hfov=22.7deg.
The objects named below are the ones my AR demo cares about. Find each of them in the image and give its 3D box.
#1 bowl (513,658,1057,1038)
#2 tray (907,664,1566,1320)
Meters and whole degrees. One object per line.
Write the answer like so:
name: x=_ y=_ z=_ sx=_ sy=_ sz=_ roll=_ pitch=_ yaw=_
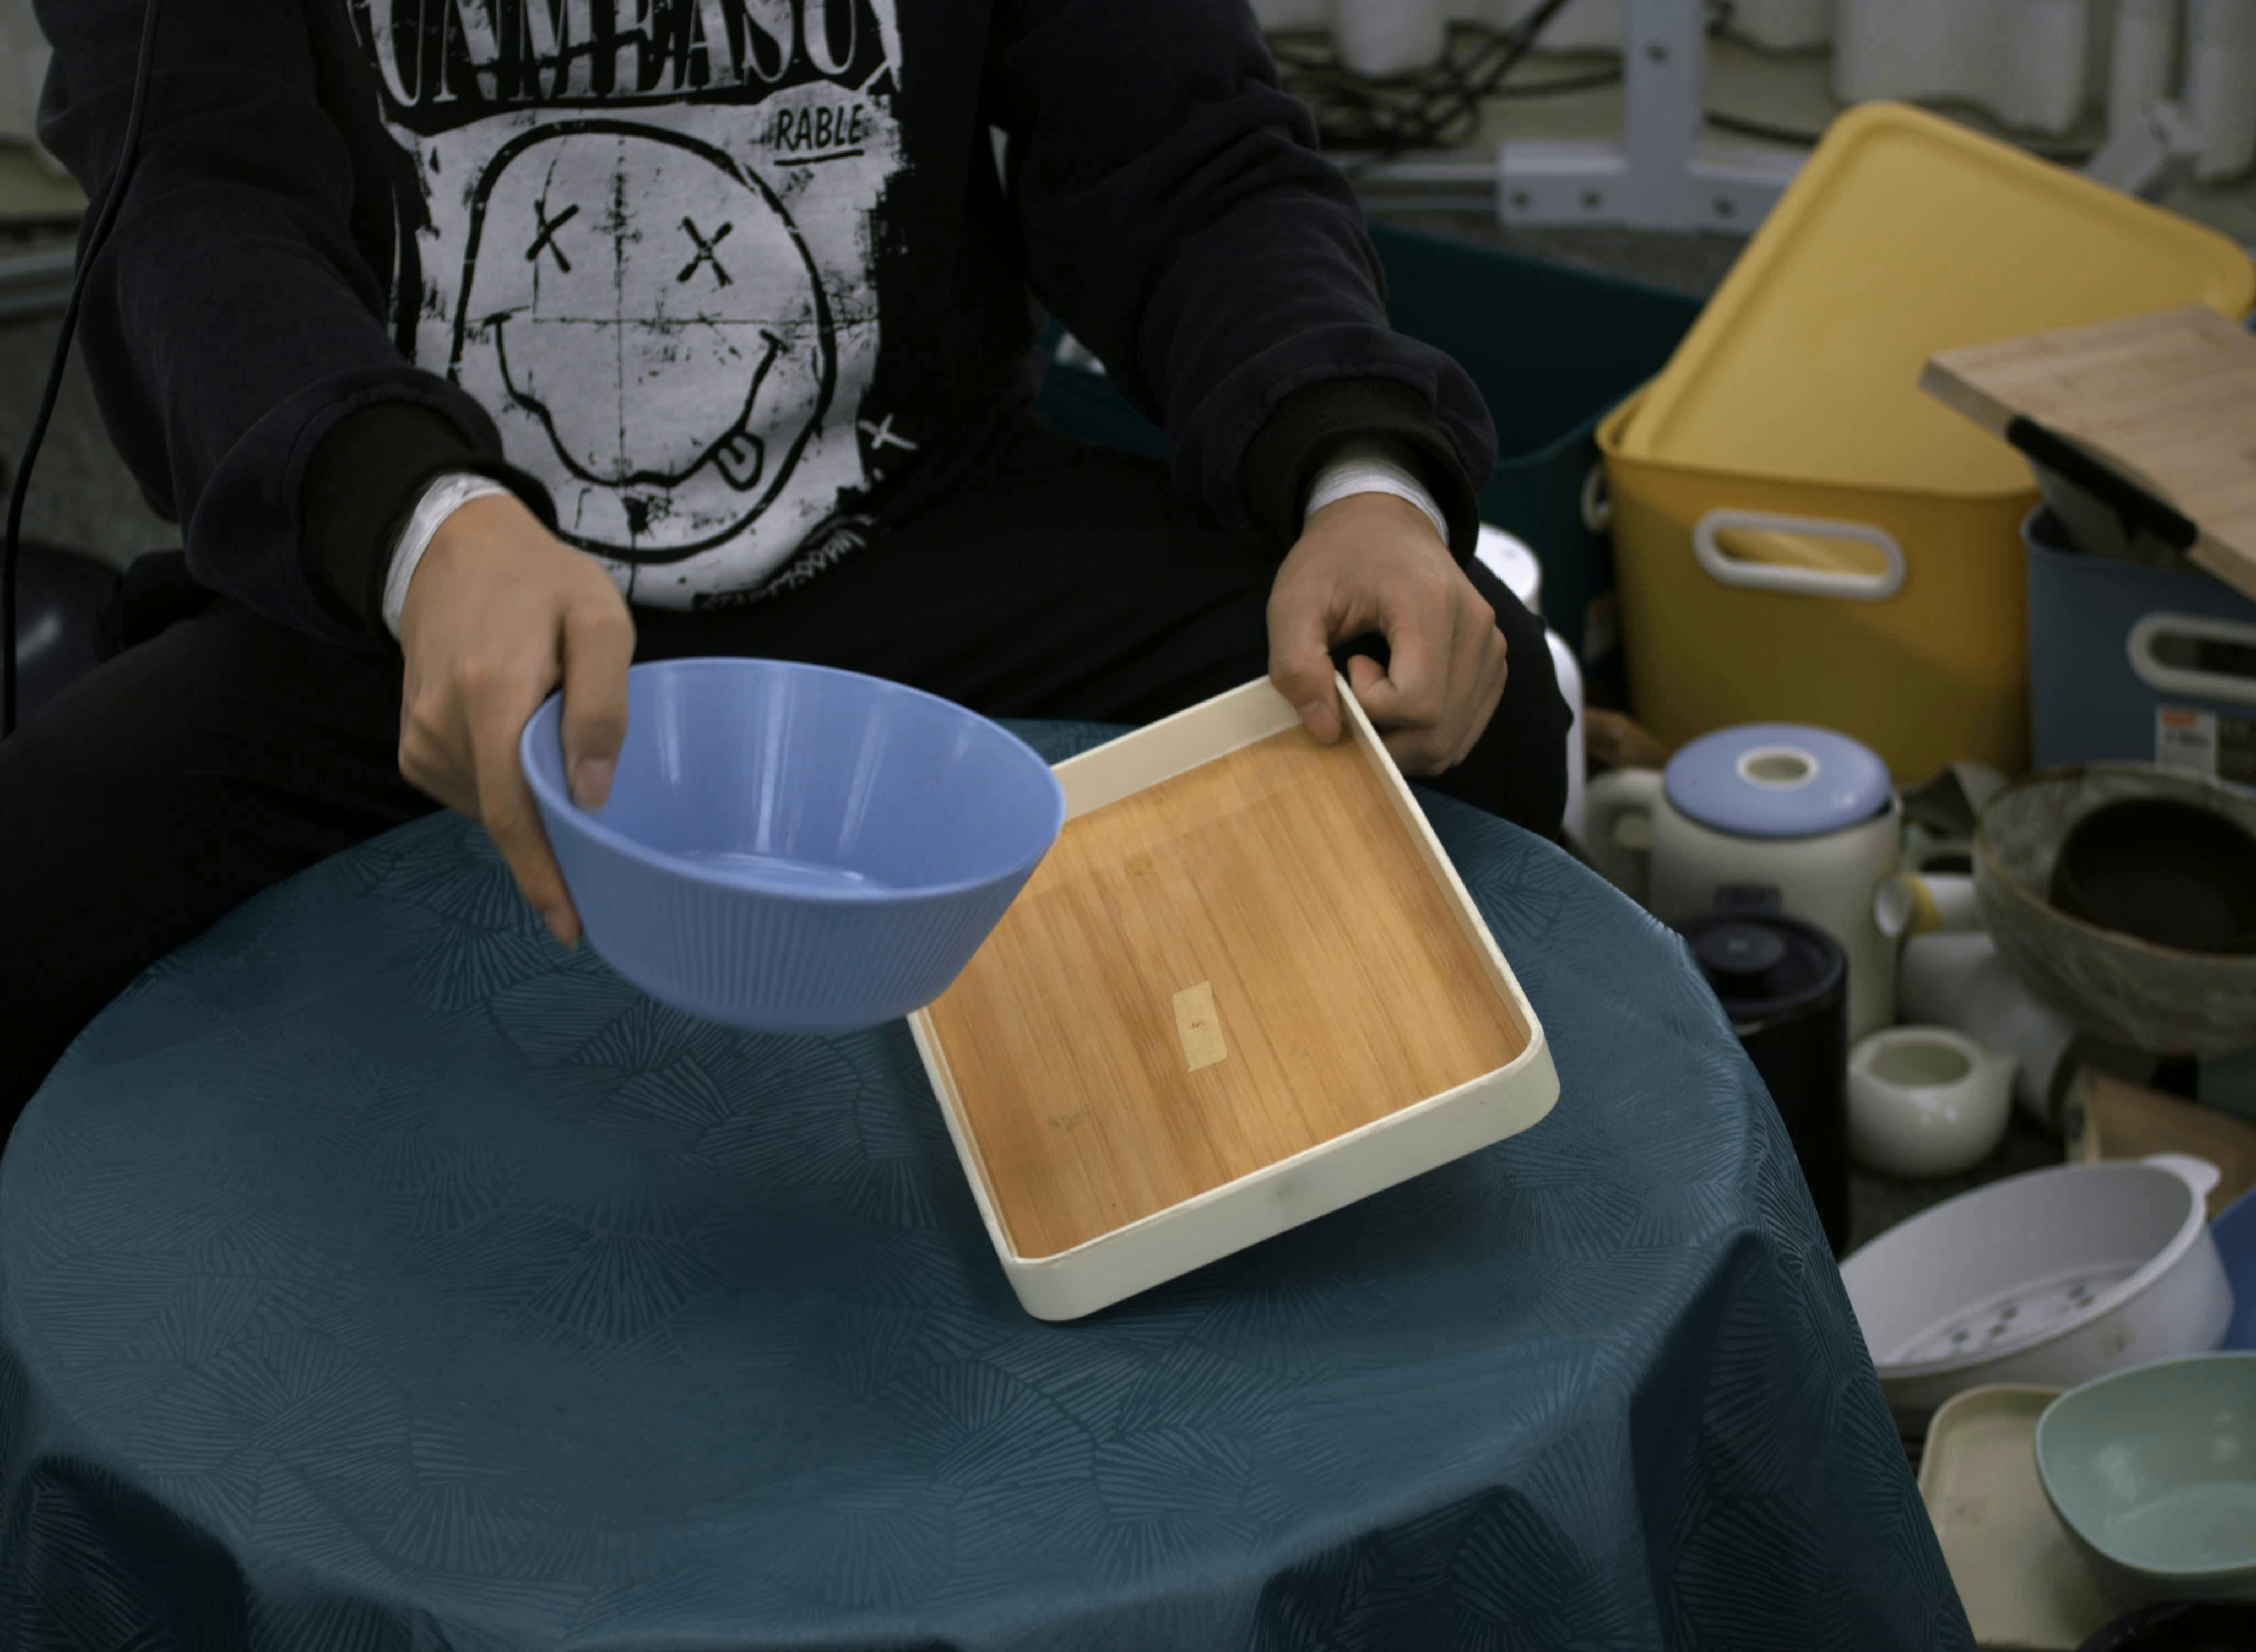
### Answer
bowl: x=-0.114 y=0.012 z=1.808 sx=0.175 sy=0.069 sz=0.178 roll=8 pitch=25 yaw=-3
tray: x=0.023 y=0.051 z=1.914 sx=0.191 sy=0.027 sz=0.304 roll=-22 pitch=30 yaw=-2
